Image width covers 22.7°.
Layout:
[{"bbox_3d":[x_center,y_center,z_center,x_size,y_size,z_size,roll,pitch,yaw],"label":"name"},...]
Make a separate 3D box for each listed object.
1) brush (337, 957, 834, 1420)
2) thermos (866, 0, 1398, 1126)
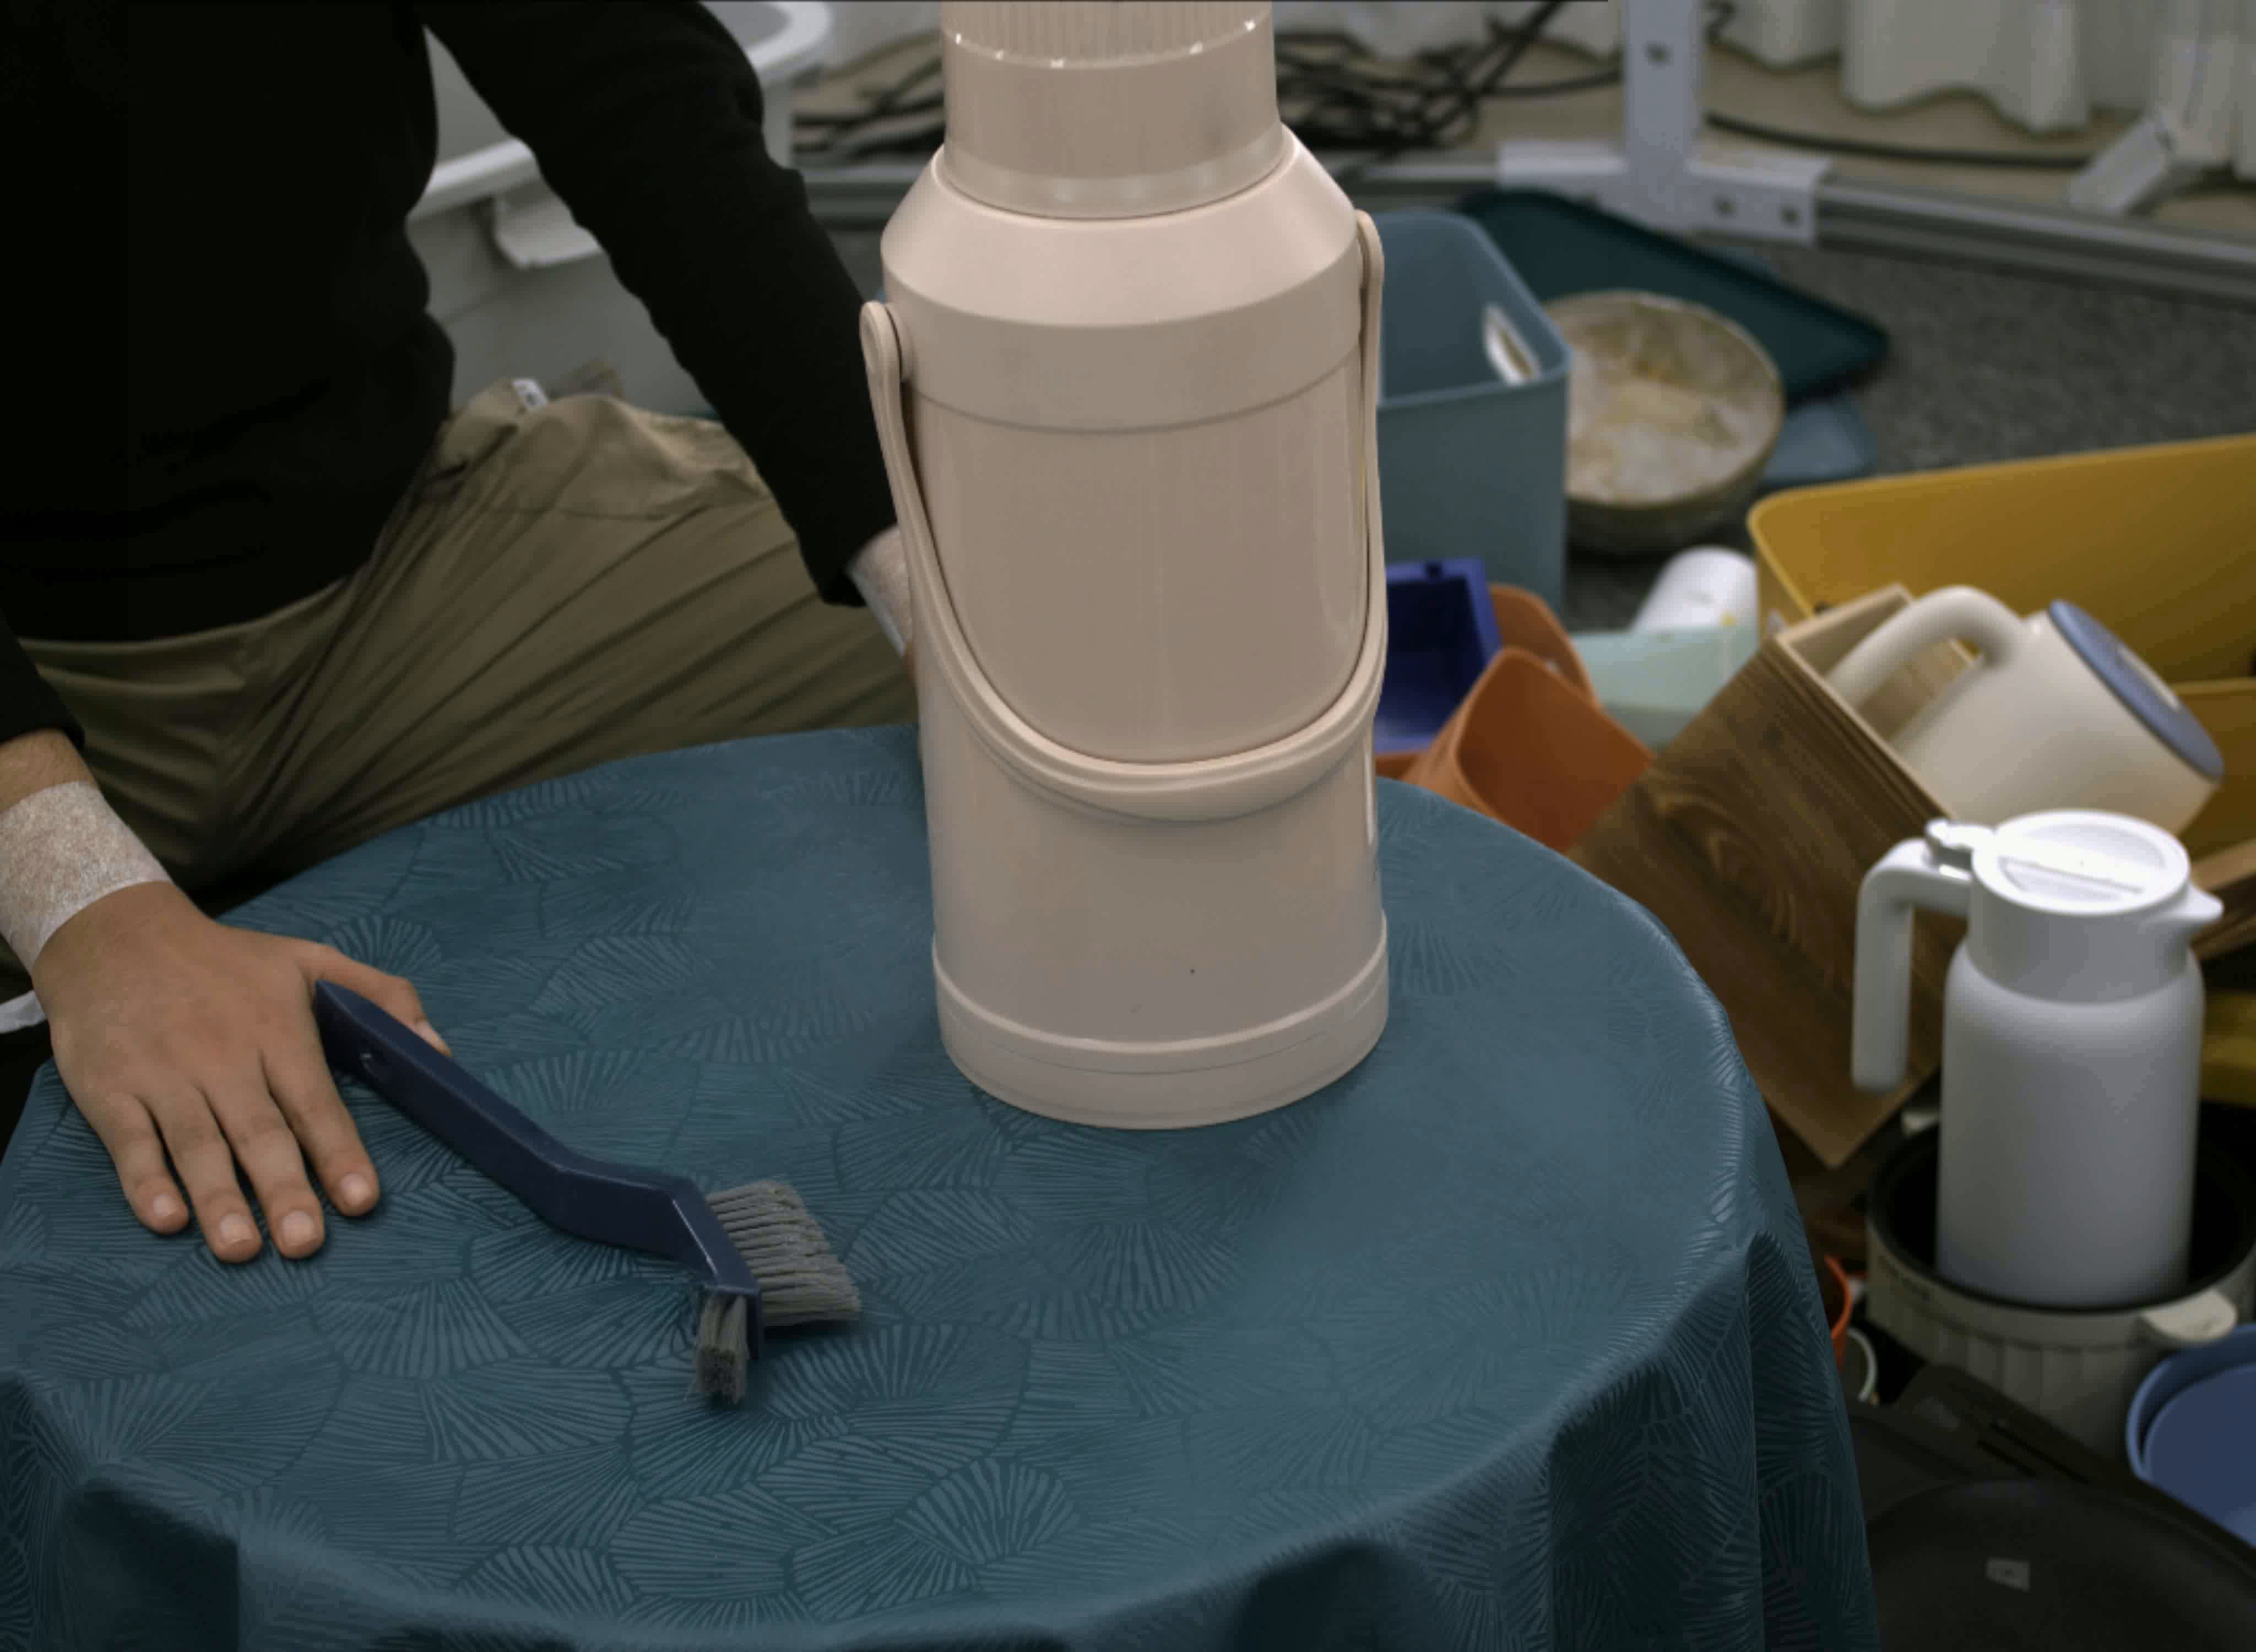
[{"bbox_3d":[-0.199,0.115,1.857,0.273,0.033,0.097,25,36,39],"label":"brush"},{"bbox_3d":[0.001,-0.116,1.894,0.176,0.402,0.208,-14,28,-17],"label":"thermos"}]
